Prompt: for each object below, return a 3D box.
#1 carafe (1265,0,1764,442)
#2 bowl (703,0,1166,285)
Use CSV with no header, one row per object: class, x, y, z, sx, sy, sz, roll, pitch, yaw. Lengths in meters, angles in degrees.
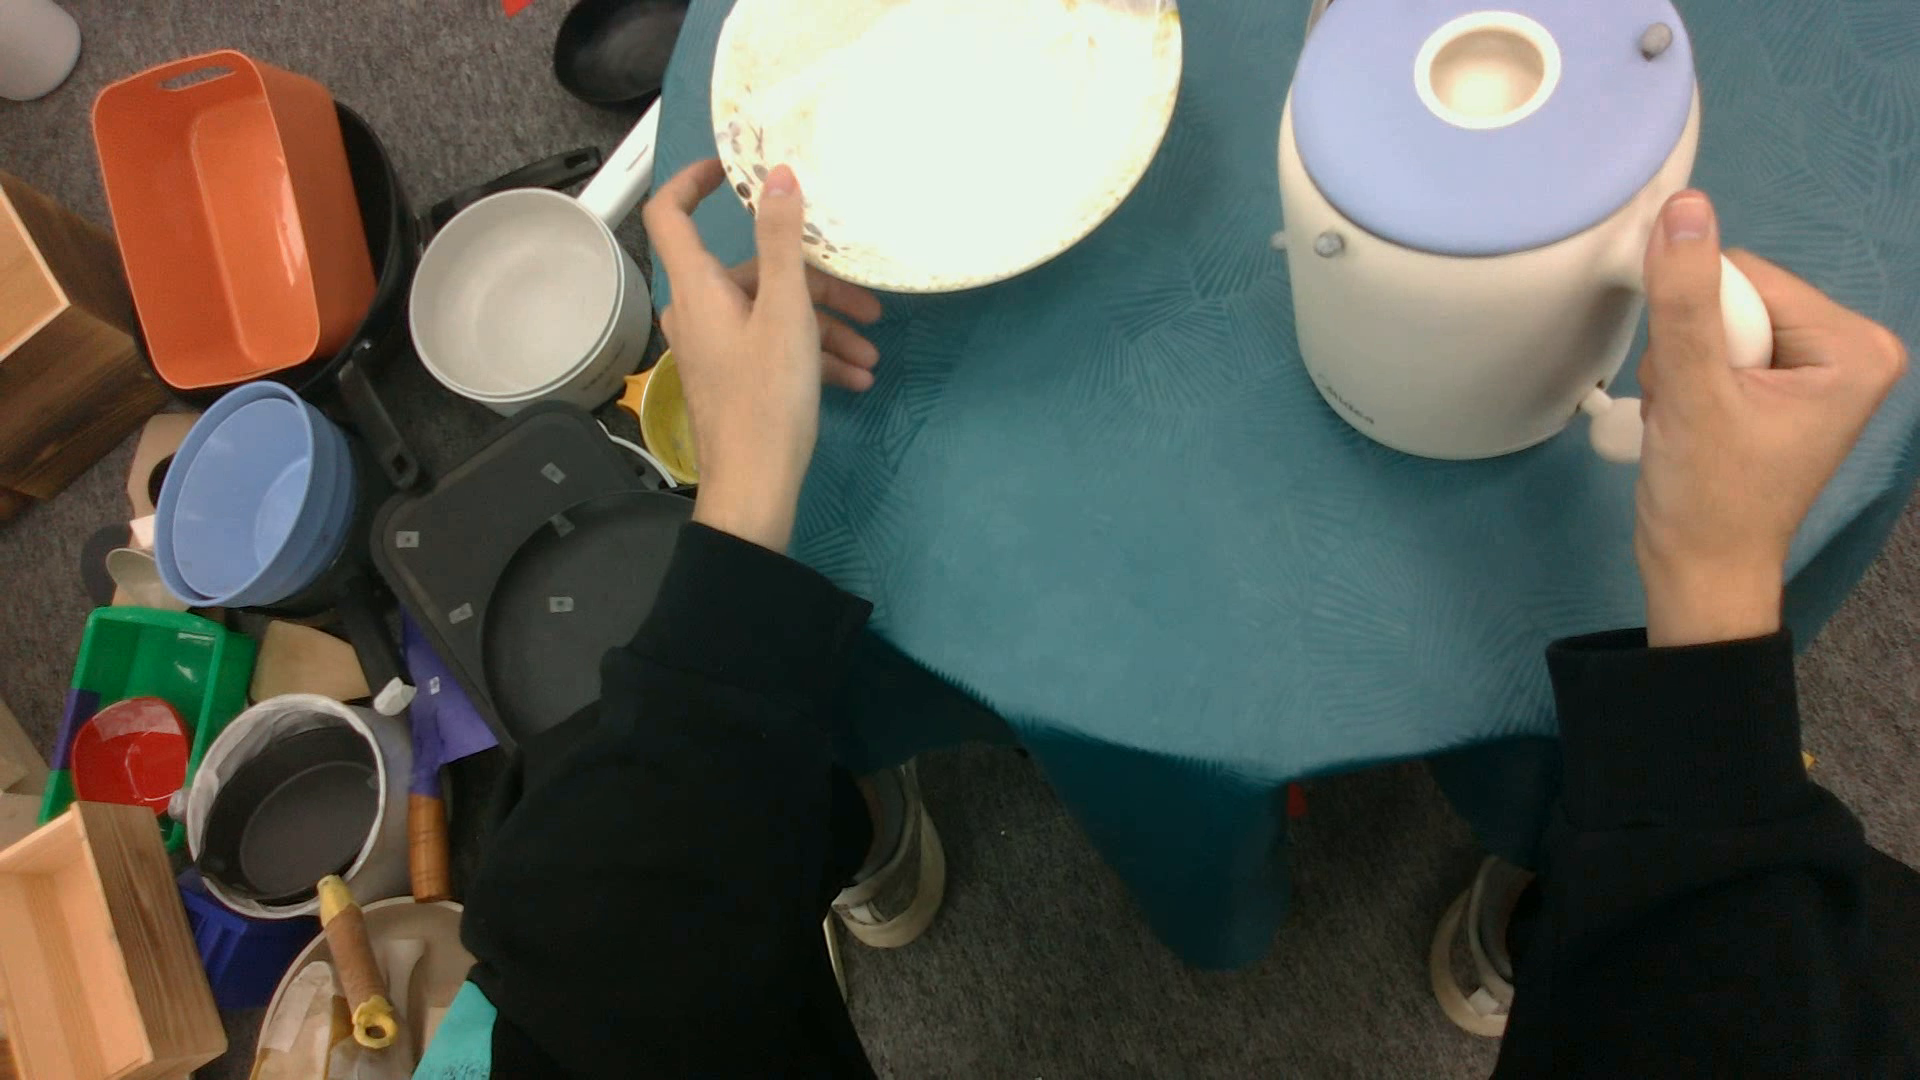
carafe,0.198,-0.108,0.500,0.132,0.182,0.191,-45,69,-1
bowl,-0.007,-0.198,0.624,0.204,0.078,0.204,-2,77,10
